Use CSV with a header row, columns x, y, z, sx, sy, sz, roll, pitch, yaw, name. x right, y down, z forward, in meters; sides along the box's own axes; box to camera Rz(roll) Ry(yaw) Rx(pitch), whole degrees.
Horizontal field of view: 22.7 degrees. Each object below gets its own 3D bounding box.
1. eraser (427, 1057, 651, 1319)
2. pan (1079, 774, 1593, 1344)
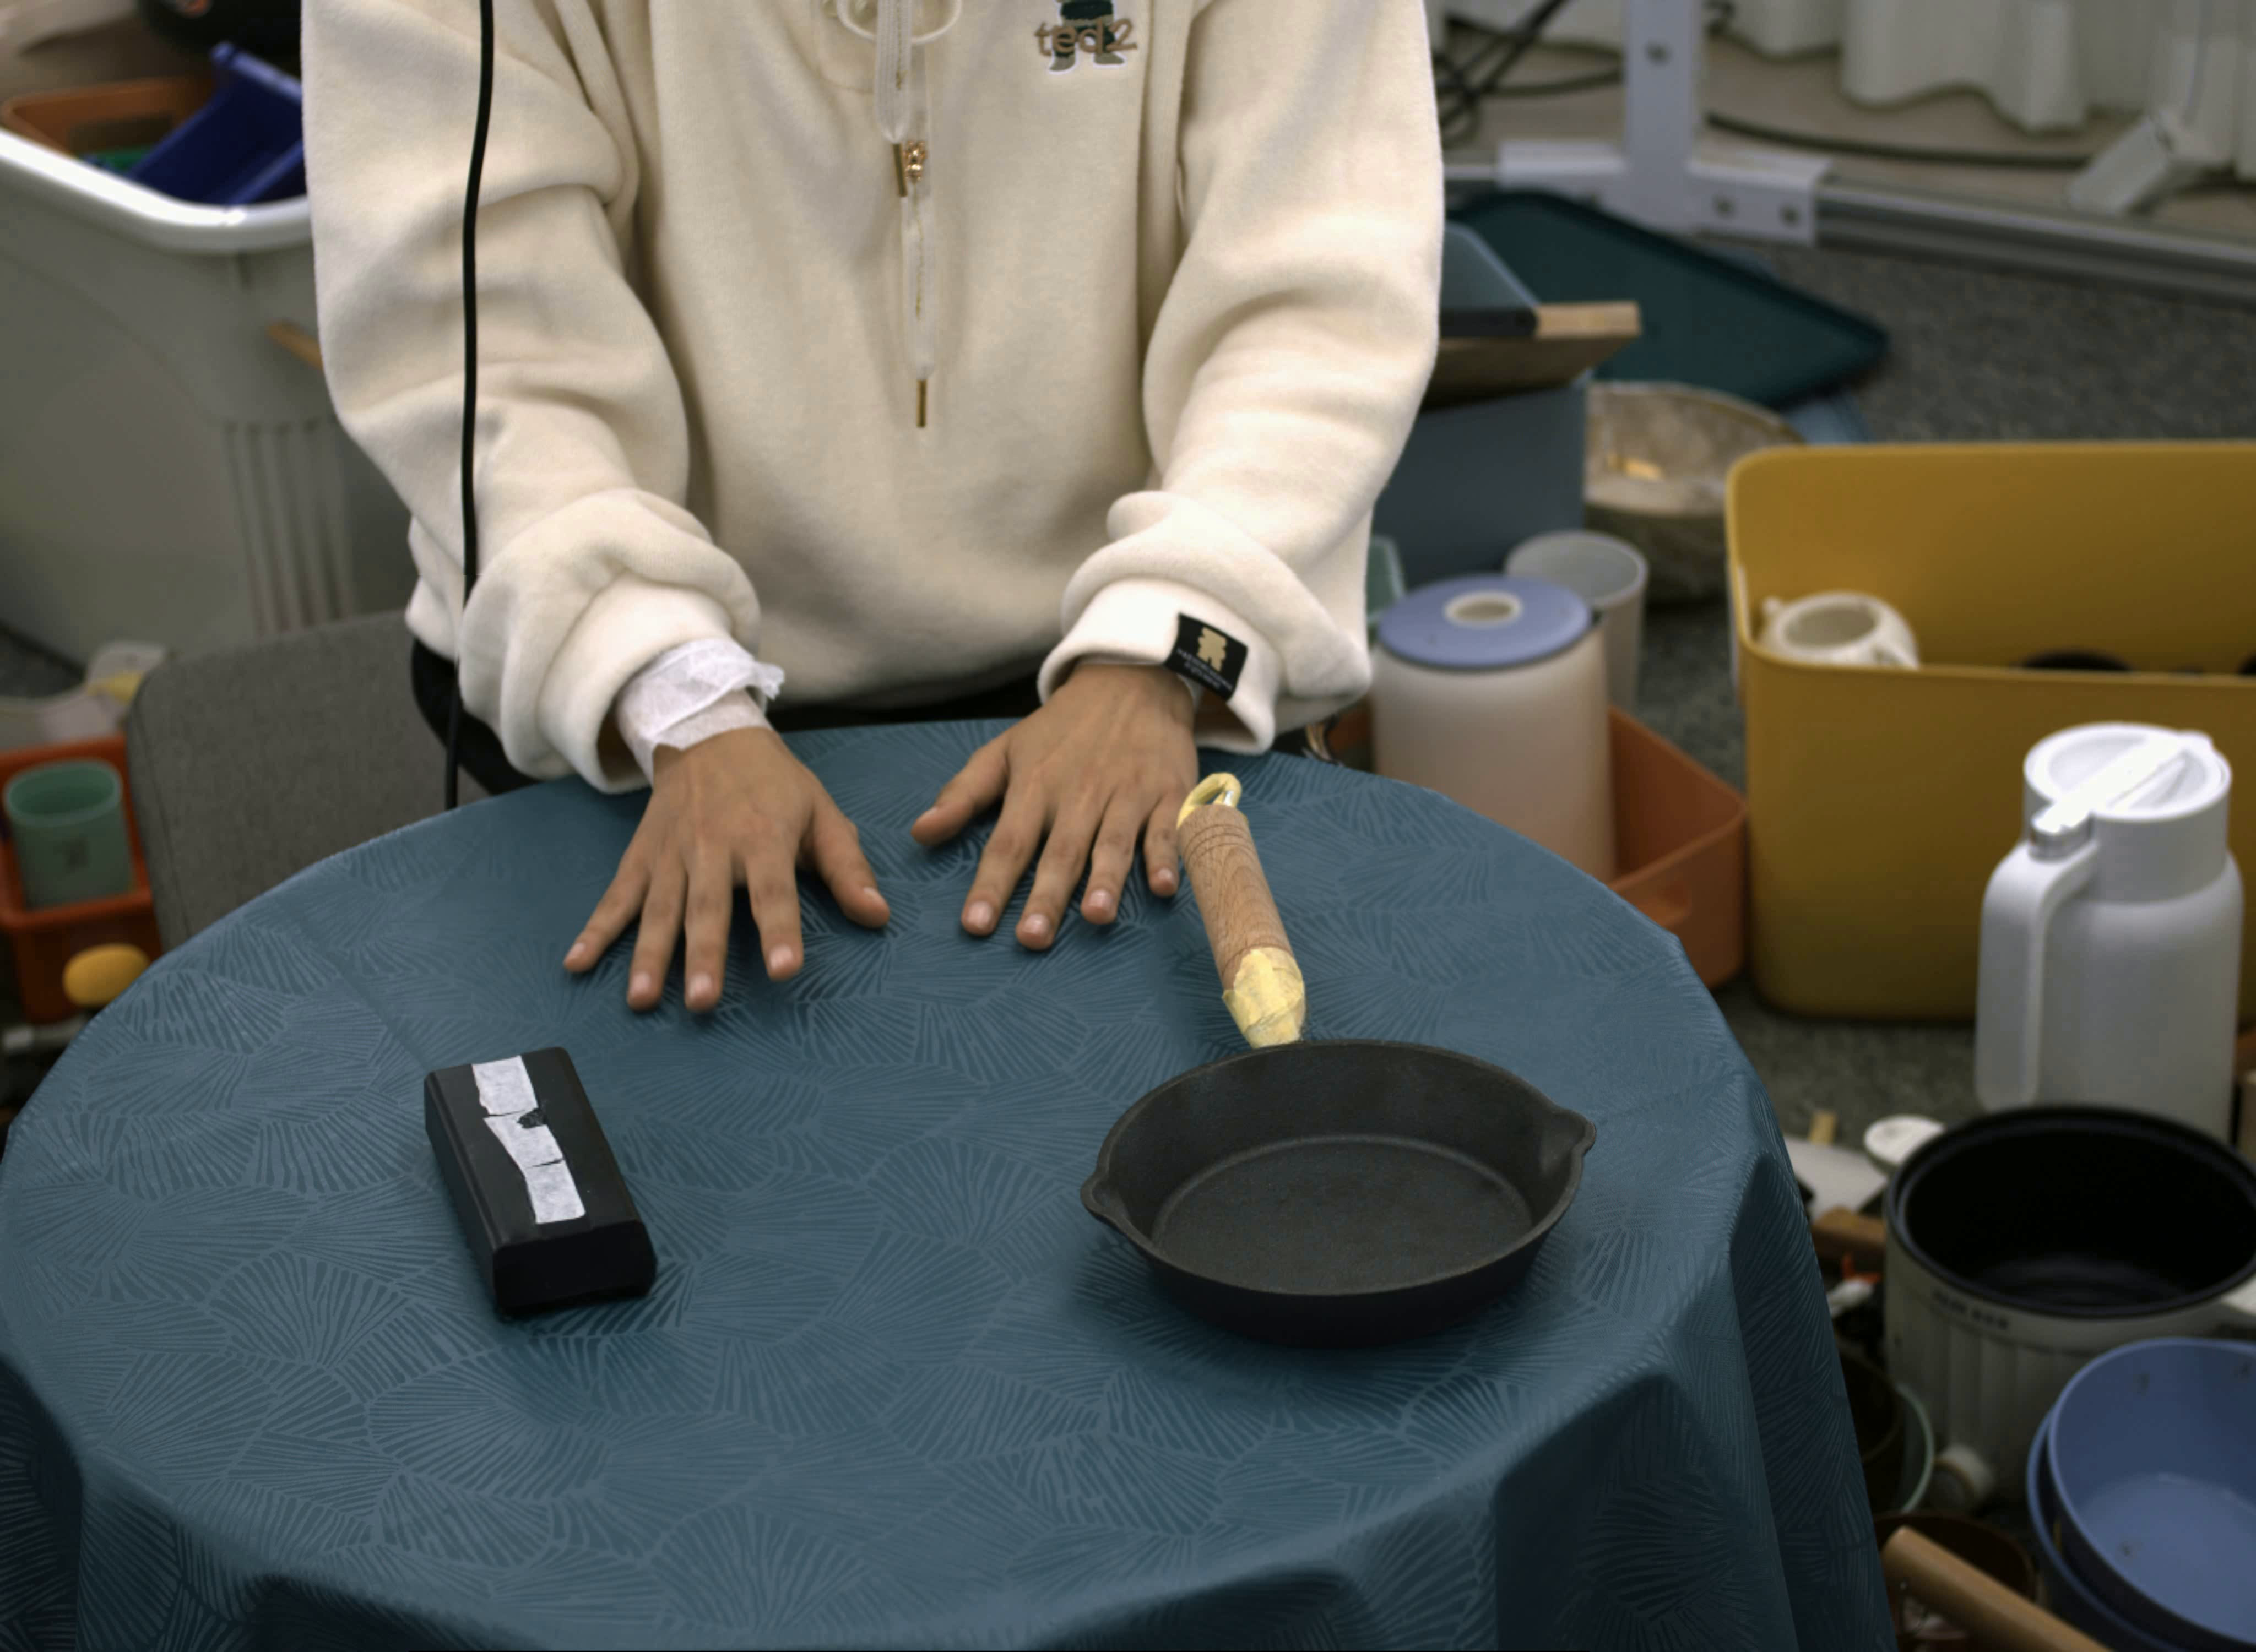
x,y,z,sx,sy,sz,roll,pitch,yaw,name
-0.195,0.119,1.856,0.053,0.030,0.127,-9,27,-13,eraser
0.055,0.075,1.890,0.168,0.049,0.328,-7,28,-6,pan
